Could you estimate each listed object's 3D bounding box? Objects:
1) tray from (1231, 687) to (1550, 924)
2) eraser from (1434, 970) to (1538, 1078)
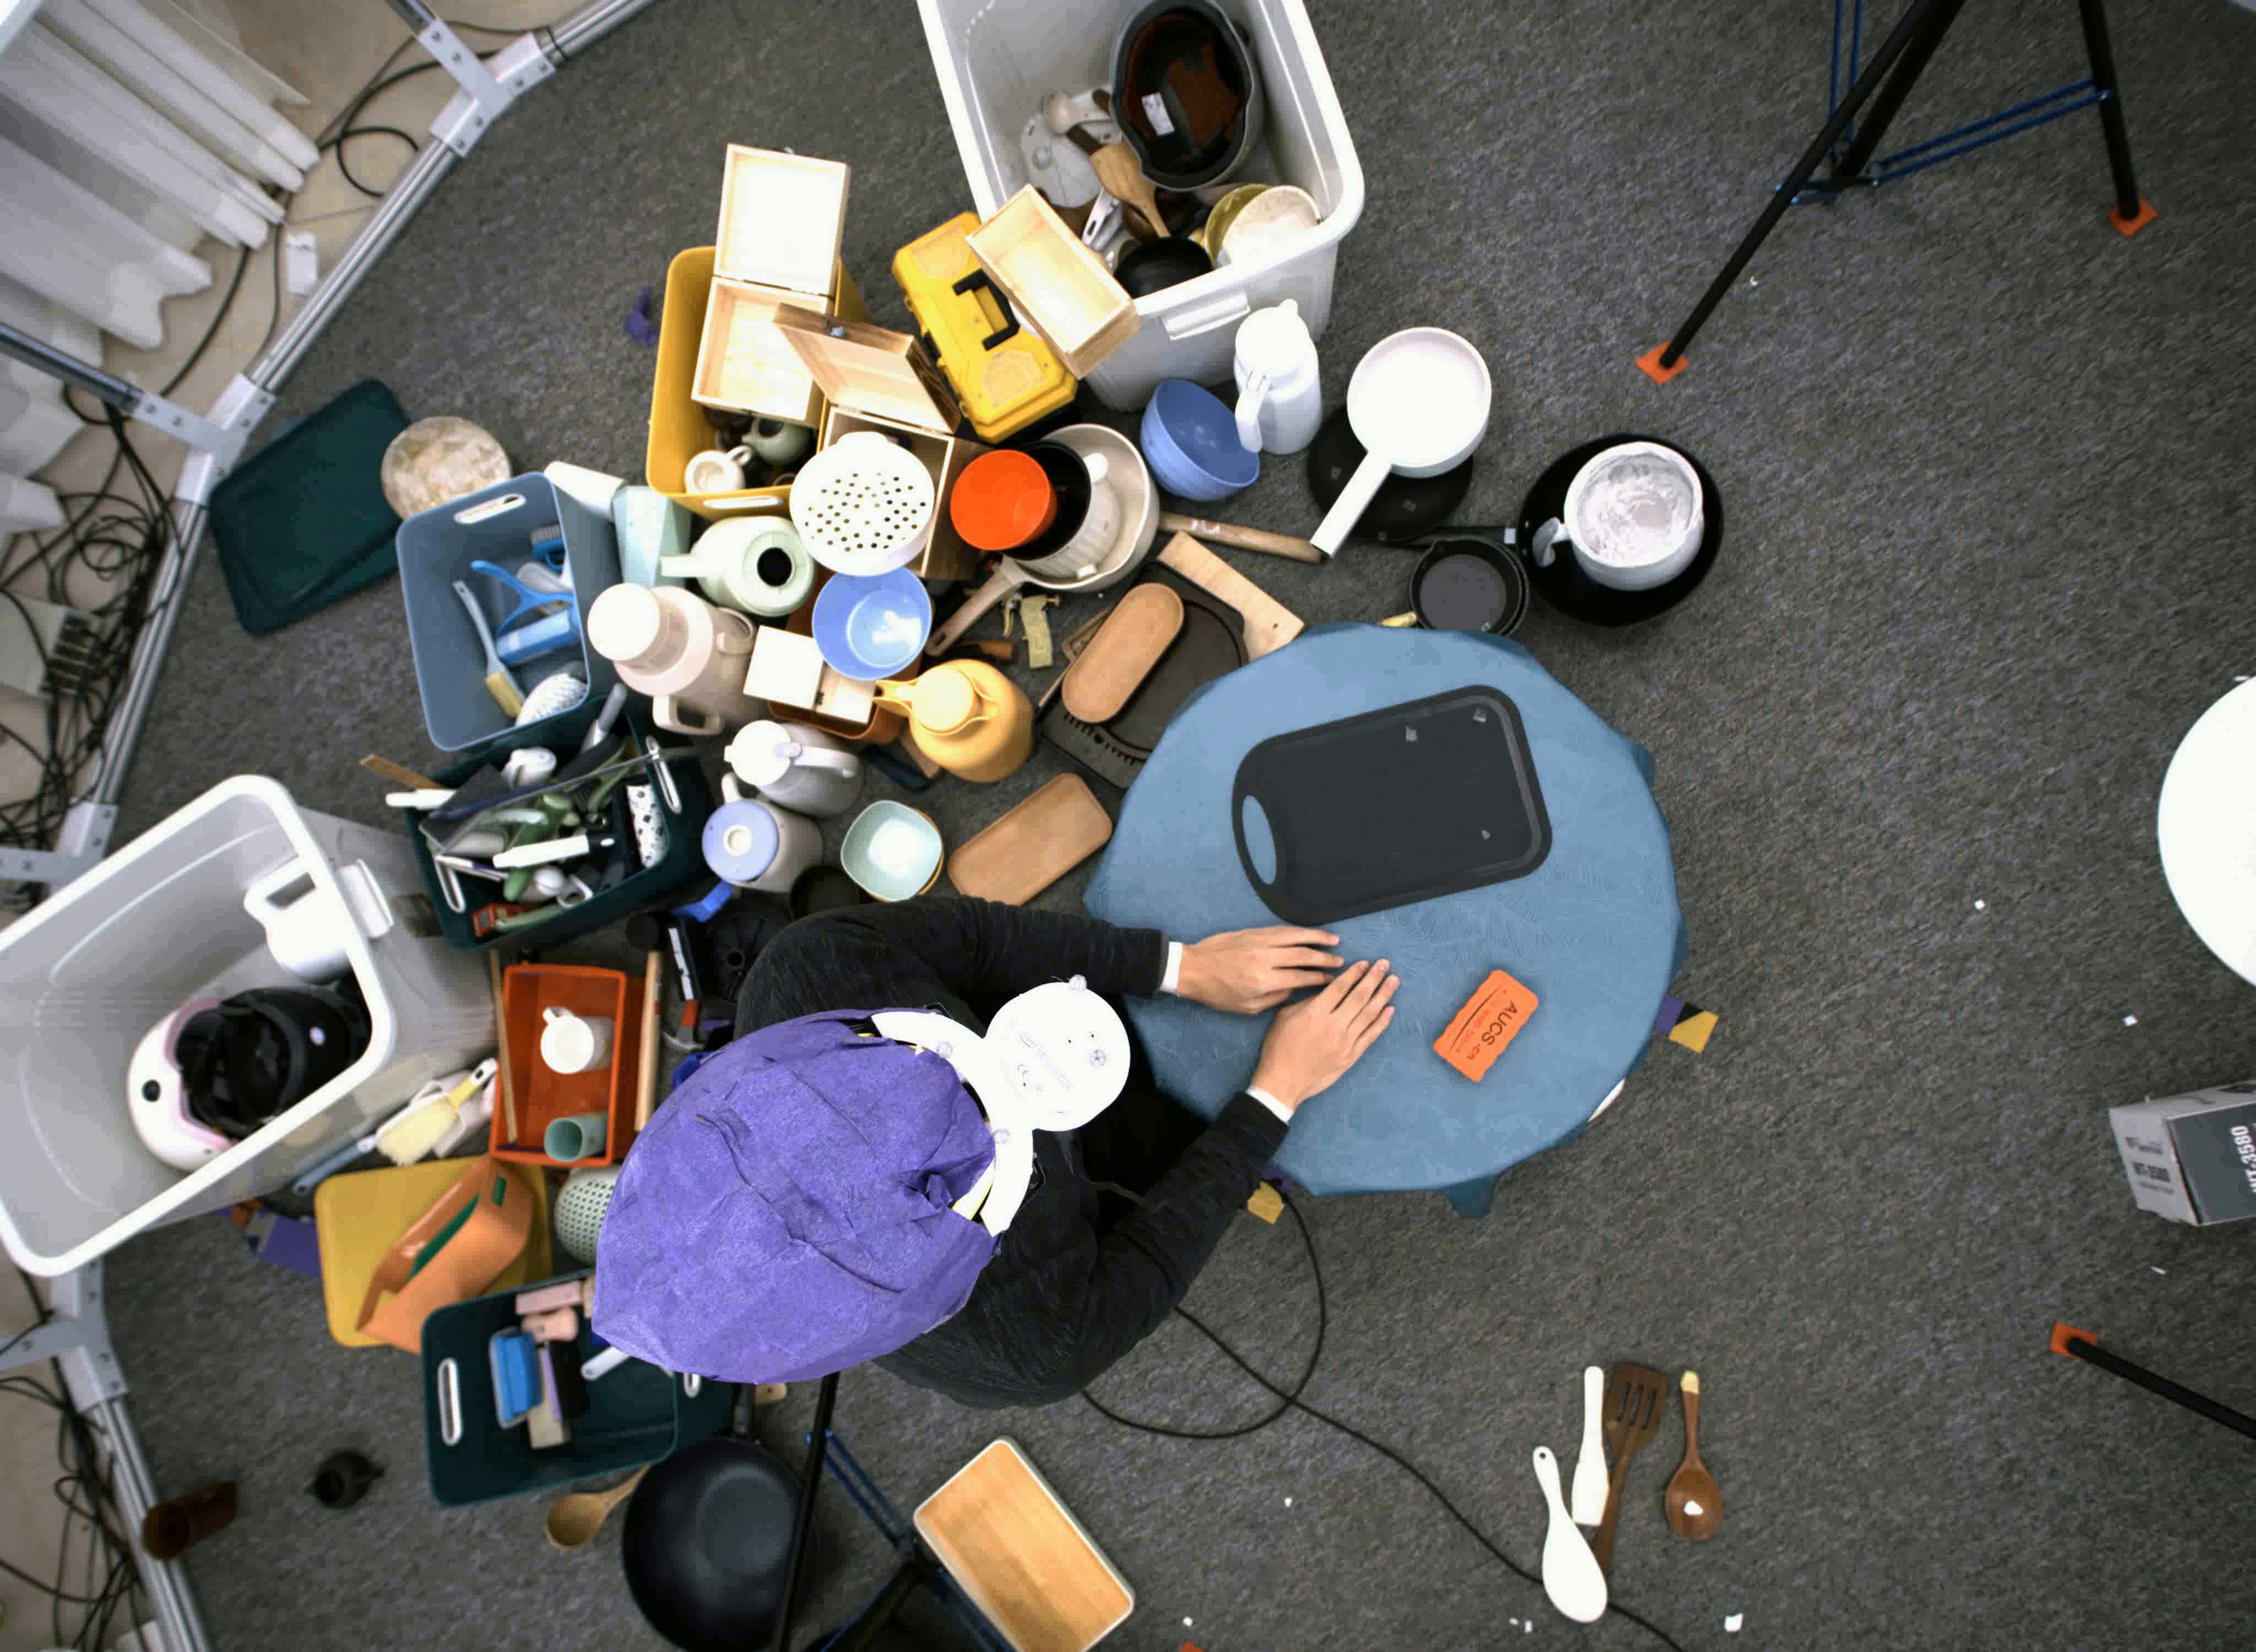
[{"bbox_3d":[0.271,-0.020,1.461,0.327,0.010,0.210,-14,84,10],"label":"tray"},{"bbox_3d":[0.369,0.202,1.422,0.059,0.023,0.108,40,94,12],"label":"eraser"}]
